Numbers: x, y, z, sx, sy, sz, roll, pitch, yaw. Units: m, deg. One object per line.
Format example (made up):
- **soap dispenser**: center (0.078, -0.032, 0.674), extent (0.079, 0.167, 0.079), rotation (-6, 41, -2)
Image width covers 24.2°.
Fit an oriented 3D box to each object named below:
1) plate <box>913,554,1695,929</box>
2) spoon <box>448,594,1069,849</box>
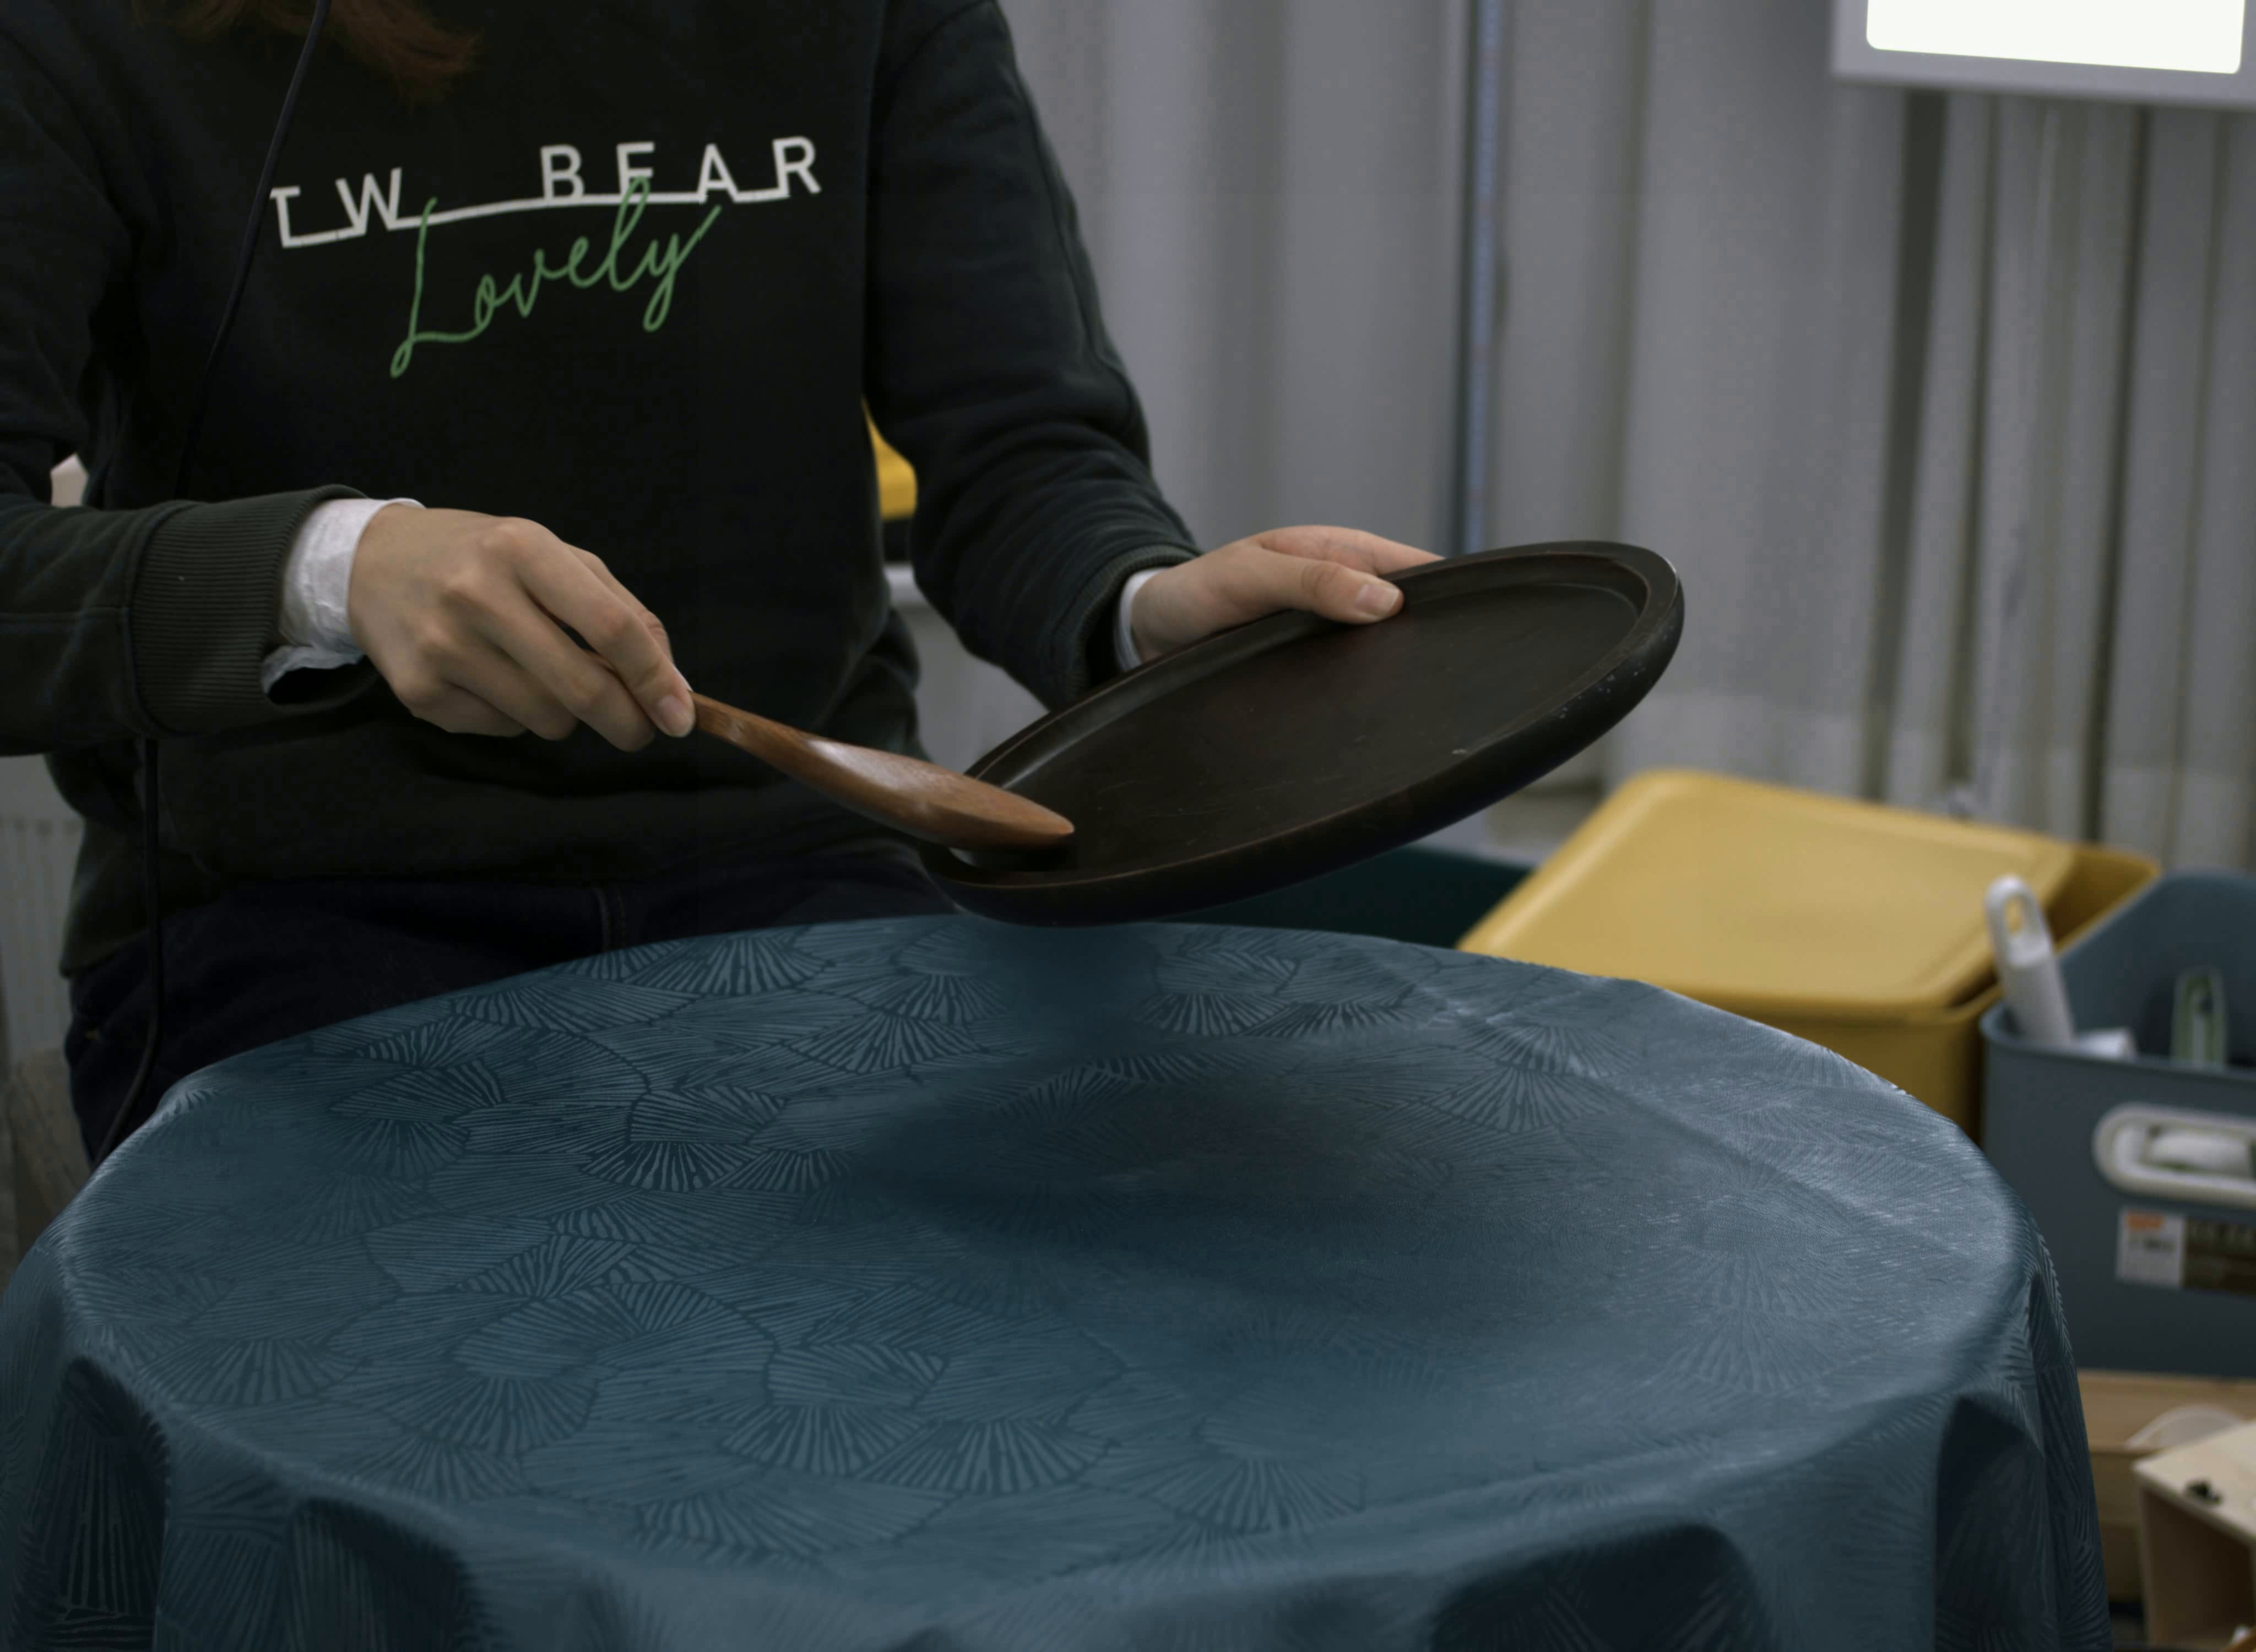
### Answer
- **plate**: center (0.057, -0.028, 1.642), extent (0.254, 0.029, 0.253), rotation (-18, 17, 6)
- **spoon**: center (-0.117, -0.030, 1.634), extent (0.214, 0.017, 0.076), rotation (21, 11, 17)
